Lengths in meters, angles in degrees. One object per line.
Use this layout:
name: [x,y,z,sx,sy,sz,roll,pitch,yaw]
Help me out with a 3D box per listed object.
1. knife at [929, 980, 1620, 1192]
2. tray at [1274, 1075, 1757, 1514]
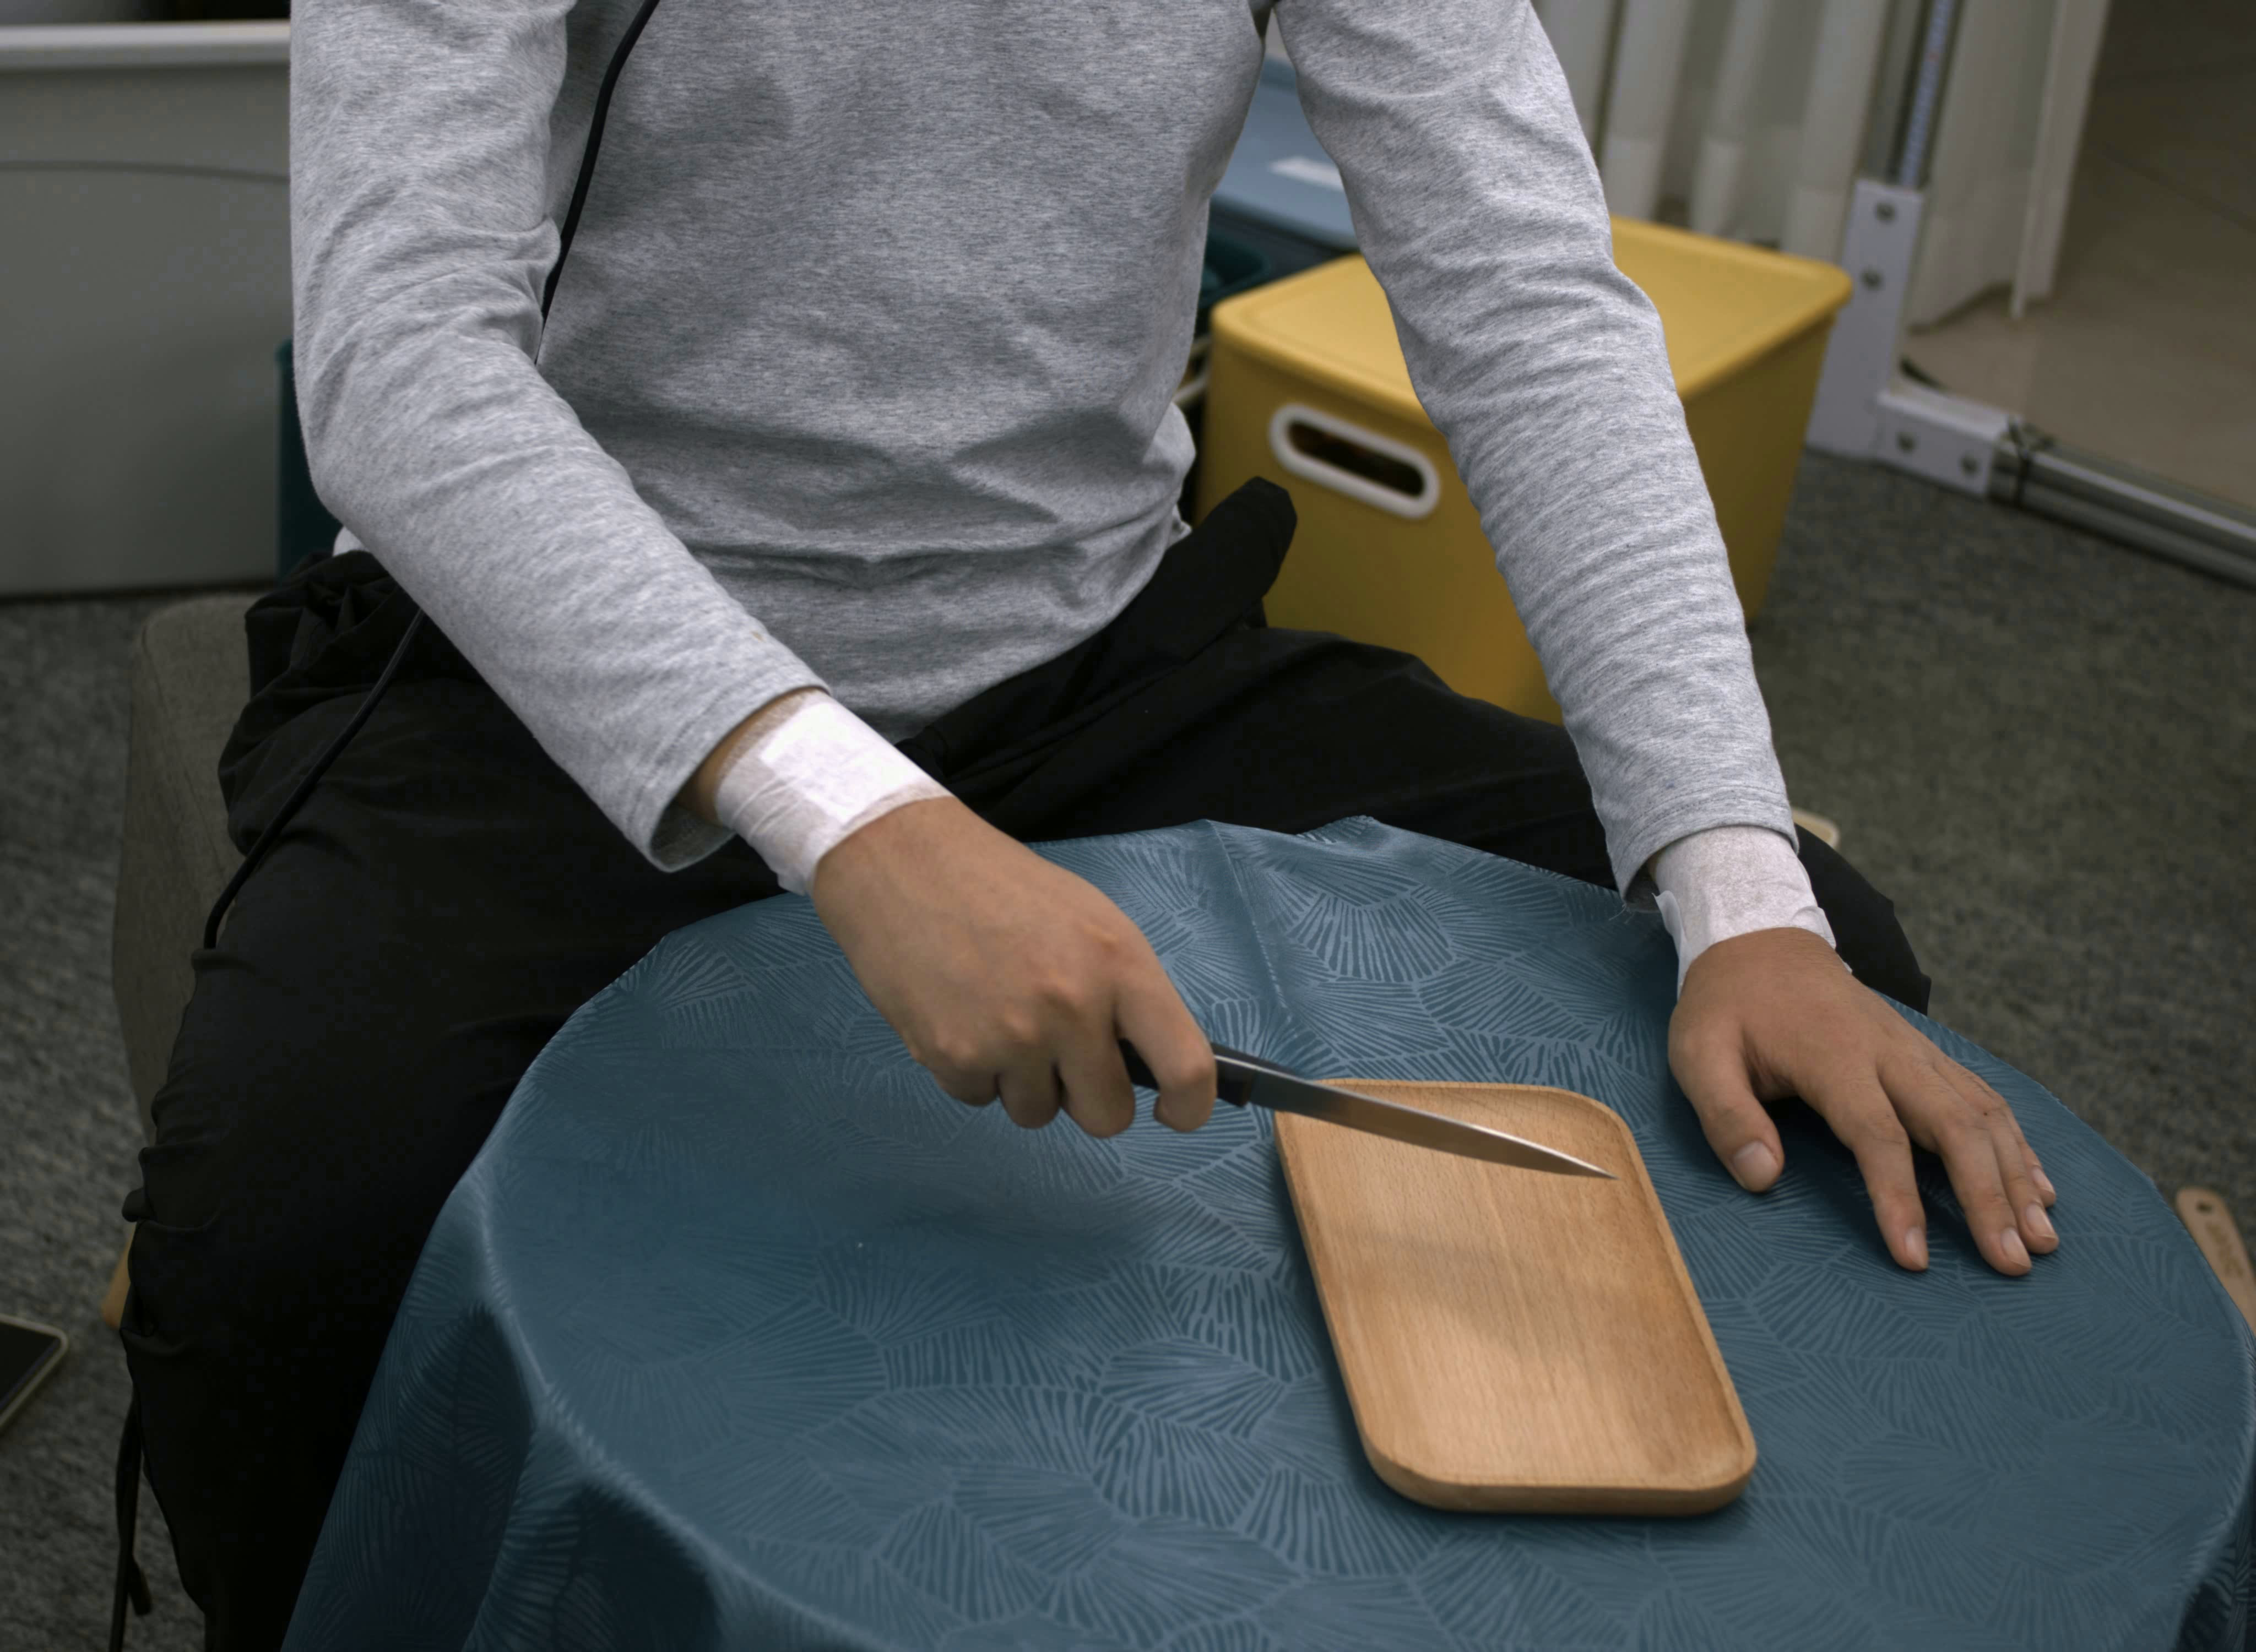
knife: [0.049,0.088,1.768,0.238,0.024,0.016,15,58,4]
tray: [0.124,0.152,1.759,0.130,0.023,0.252,5,26,-9]
